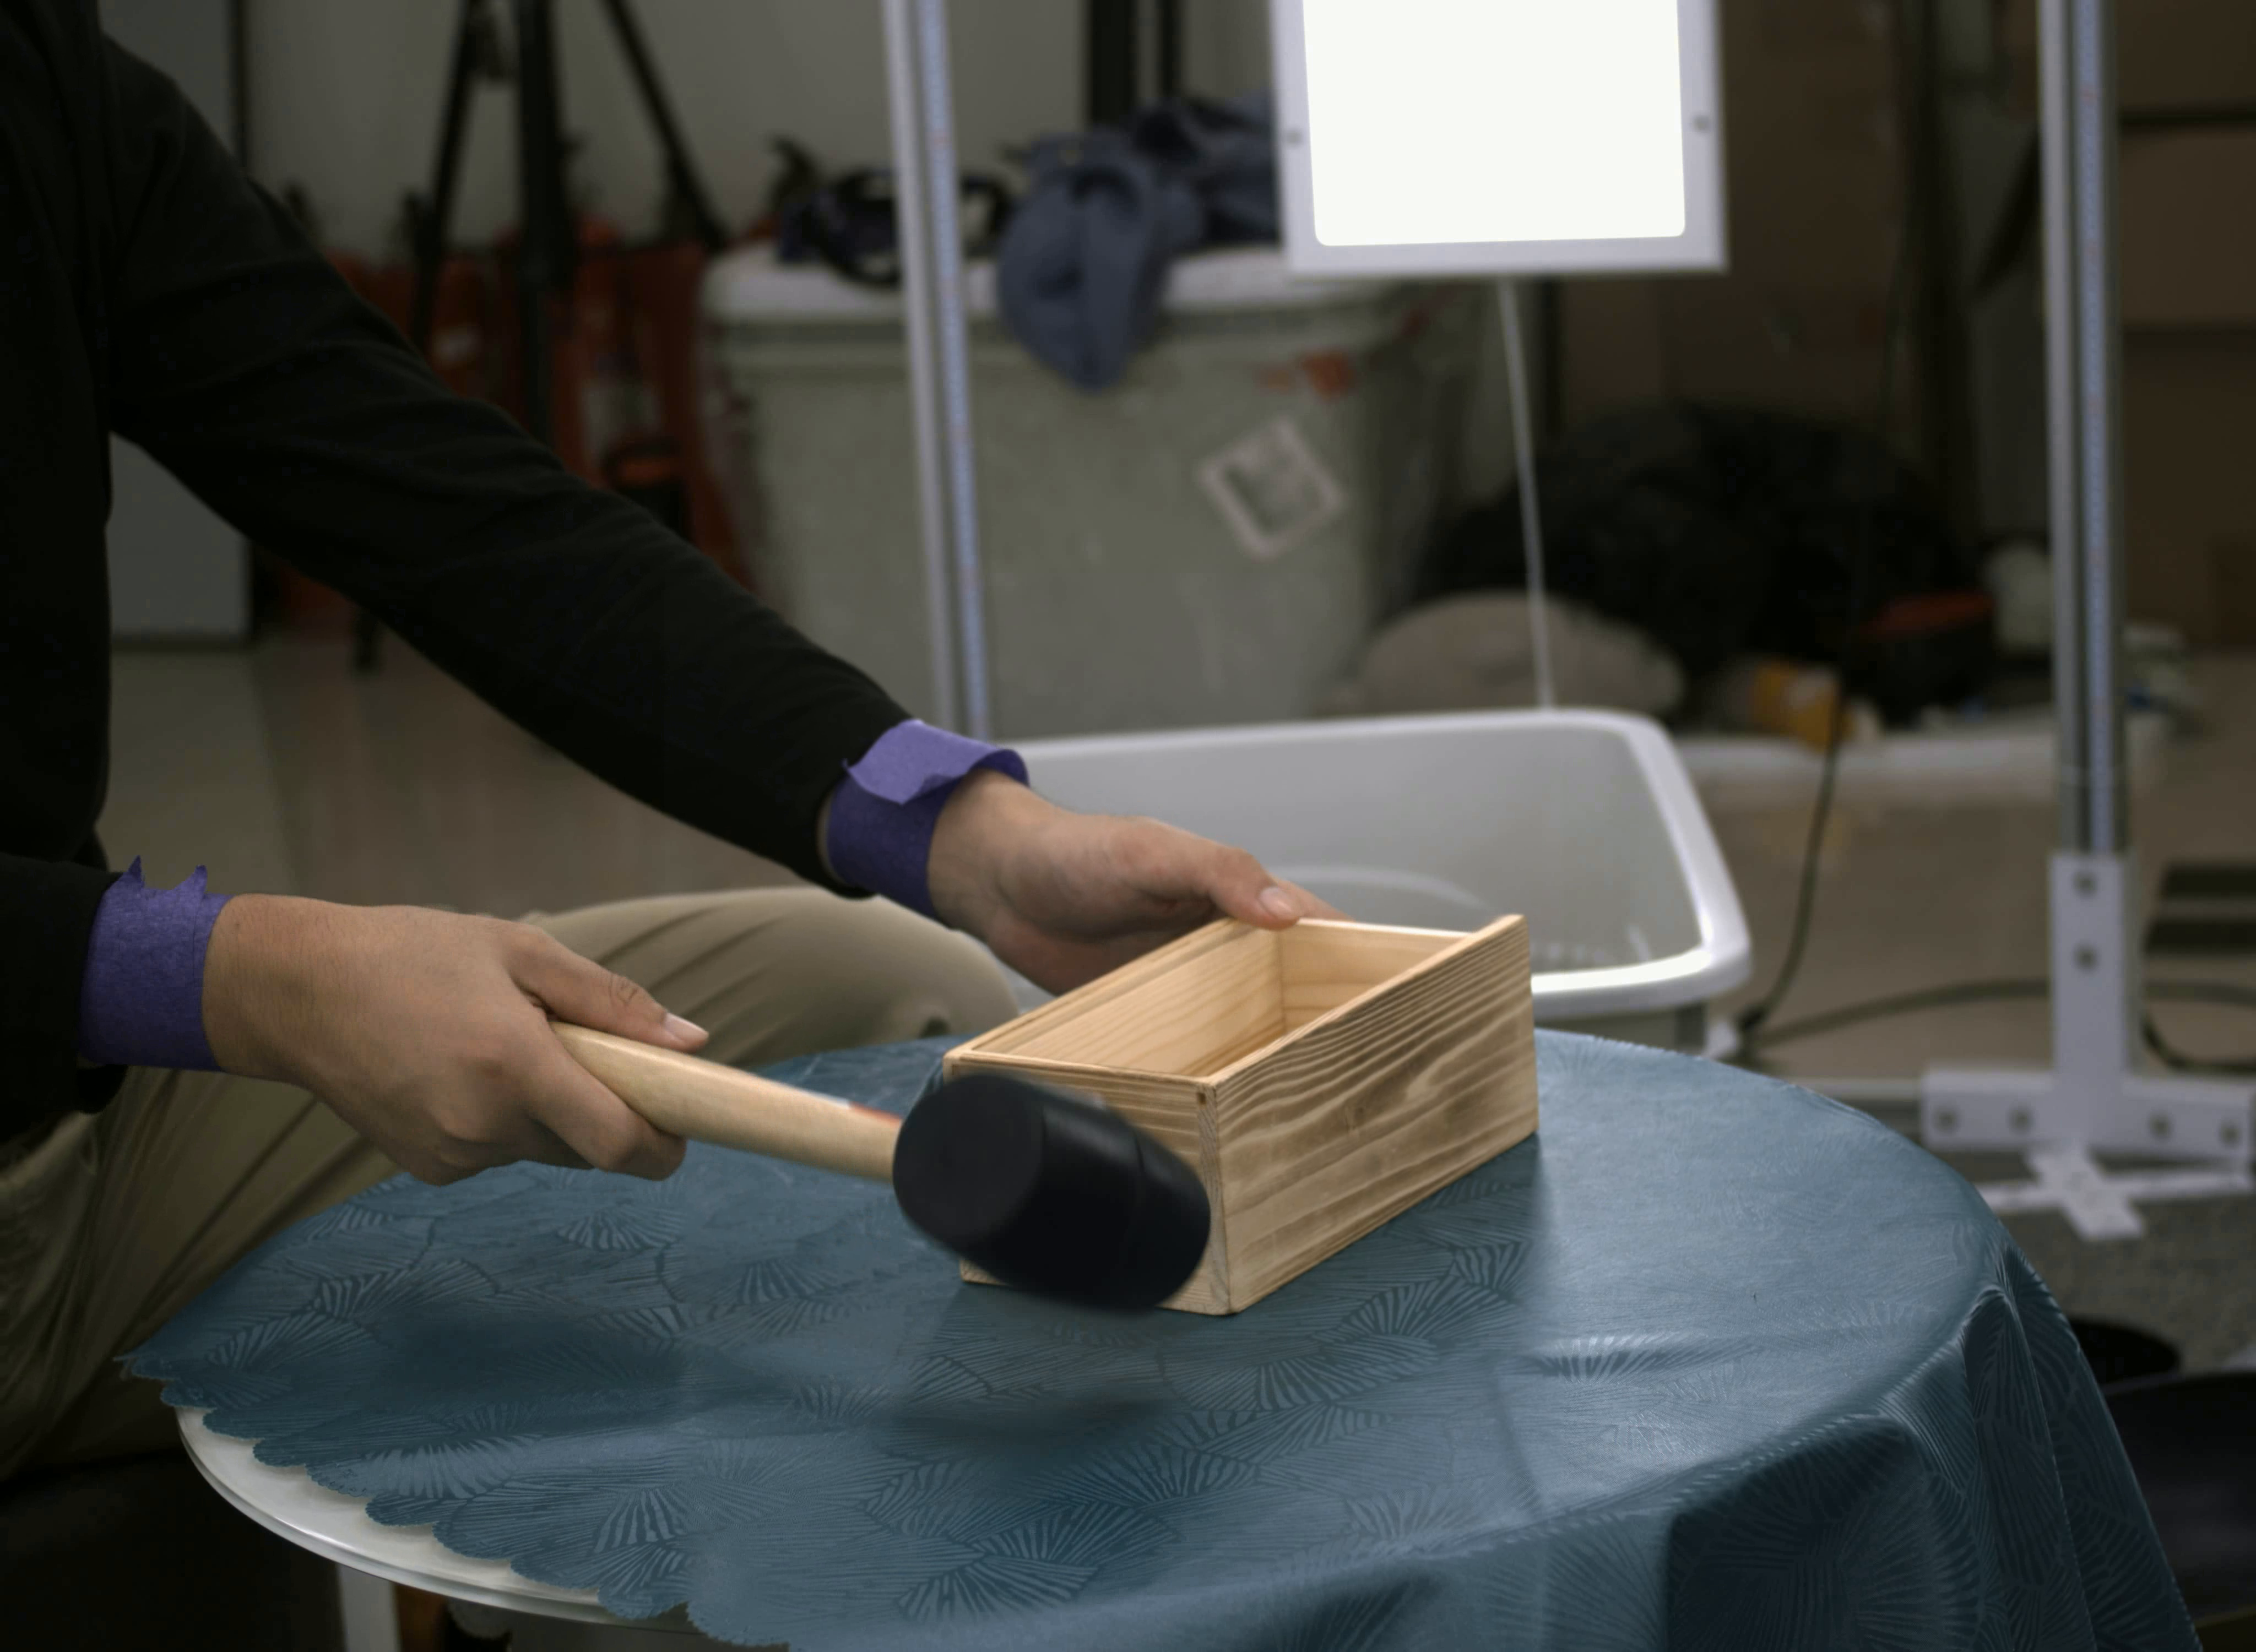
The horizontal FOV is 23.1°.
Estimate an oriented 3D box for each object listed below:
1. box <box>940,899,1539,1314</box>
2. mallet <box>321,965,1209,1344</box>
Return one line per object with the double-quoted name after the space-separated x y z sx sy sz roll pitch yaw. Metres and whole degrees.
0.042 0.091 1.861 0.109 0.080 0.206 4 16 33 "box"
-0.127 0.085 1.756 0.345 0.064 0.100 17 -10 39 "mallet"
